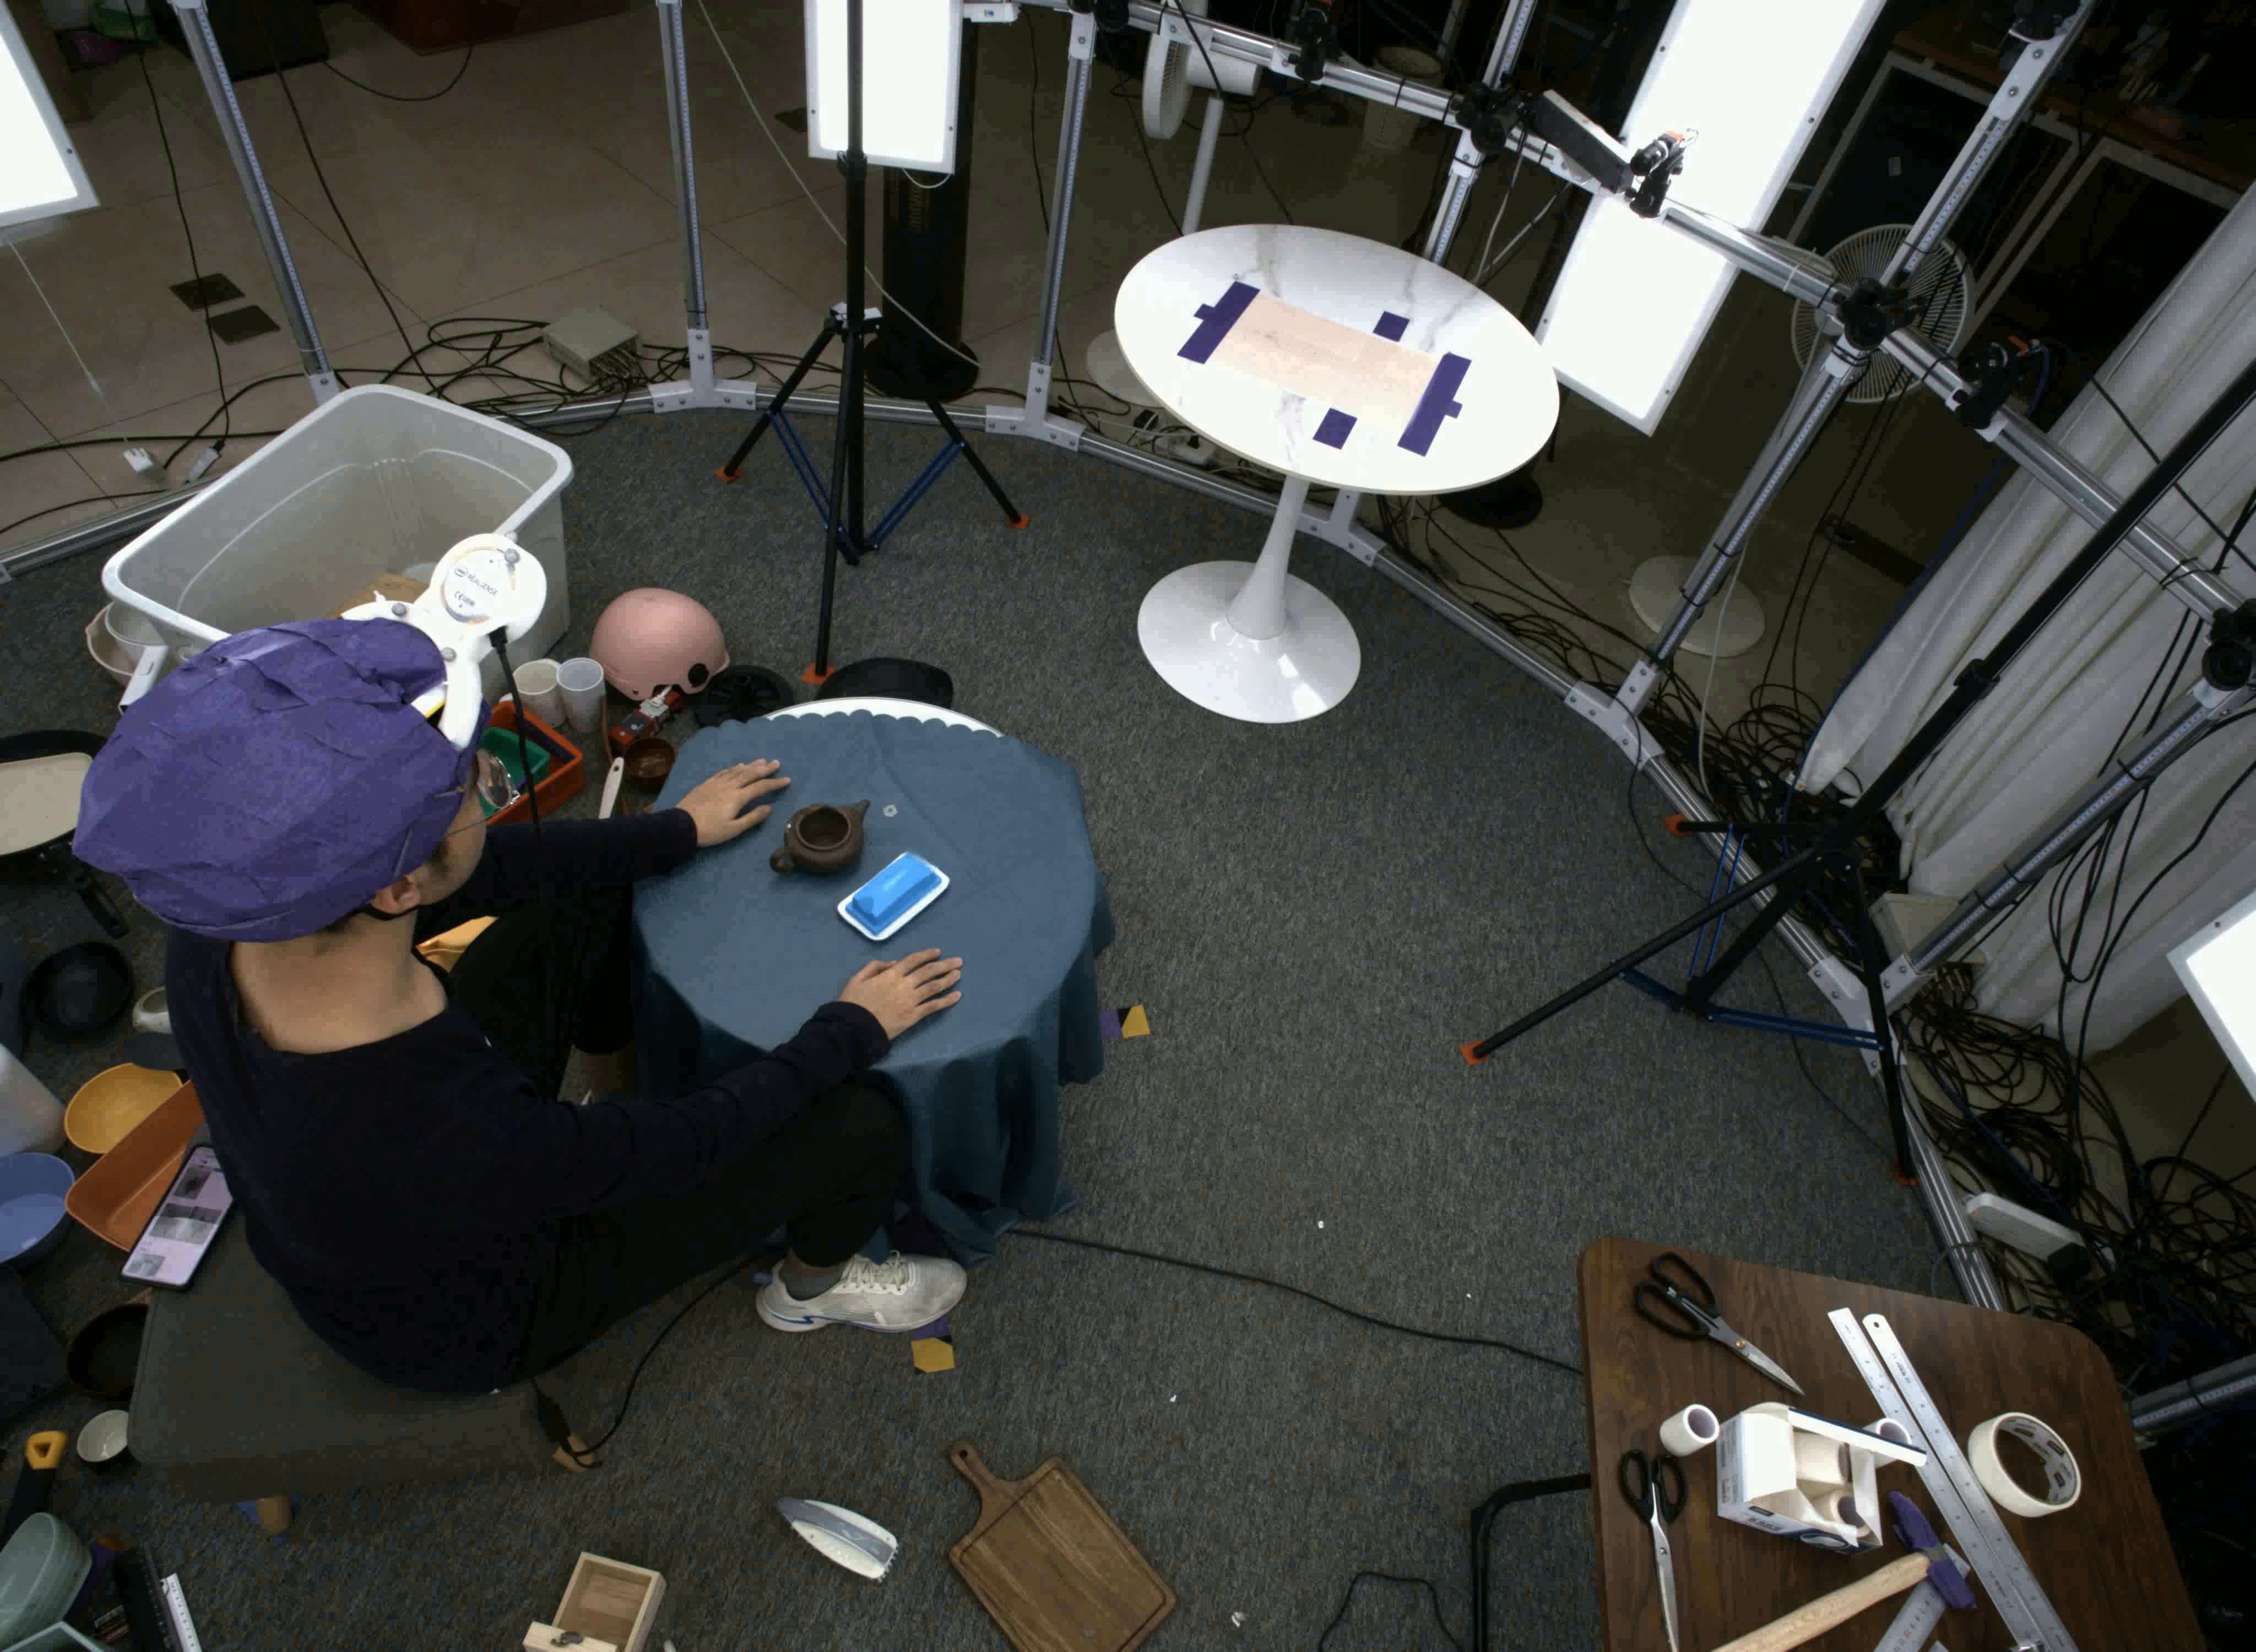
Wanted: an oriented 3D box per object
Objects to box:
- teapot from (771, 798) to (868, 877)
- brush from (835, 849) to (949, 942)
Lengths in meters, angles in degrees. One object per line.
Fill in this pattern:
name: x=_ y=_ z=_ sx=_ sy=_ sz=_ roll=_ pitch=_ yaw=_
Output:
teapot: x=-0.399 y=0.017 z=1.685 sx=0.100 sy=0.055 sz=0.153 roll=38 pitch=54 yaw=18
brush: x=-0.301 y=0.080 z=1.658 sx=0.082 sy=0.057 sz=0.144 roll=37 pitch=52 yaw=19
